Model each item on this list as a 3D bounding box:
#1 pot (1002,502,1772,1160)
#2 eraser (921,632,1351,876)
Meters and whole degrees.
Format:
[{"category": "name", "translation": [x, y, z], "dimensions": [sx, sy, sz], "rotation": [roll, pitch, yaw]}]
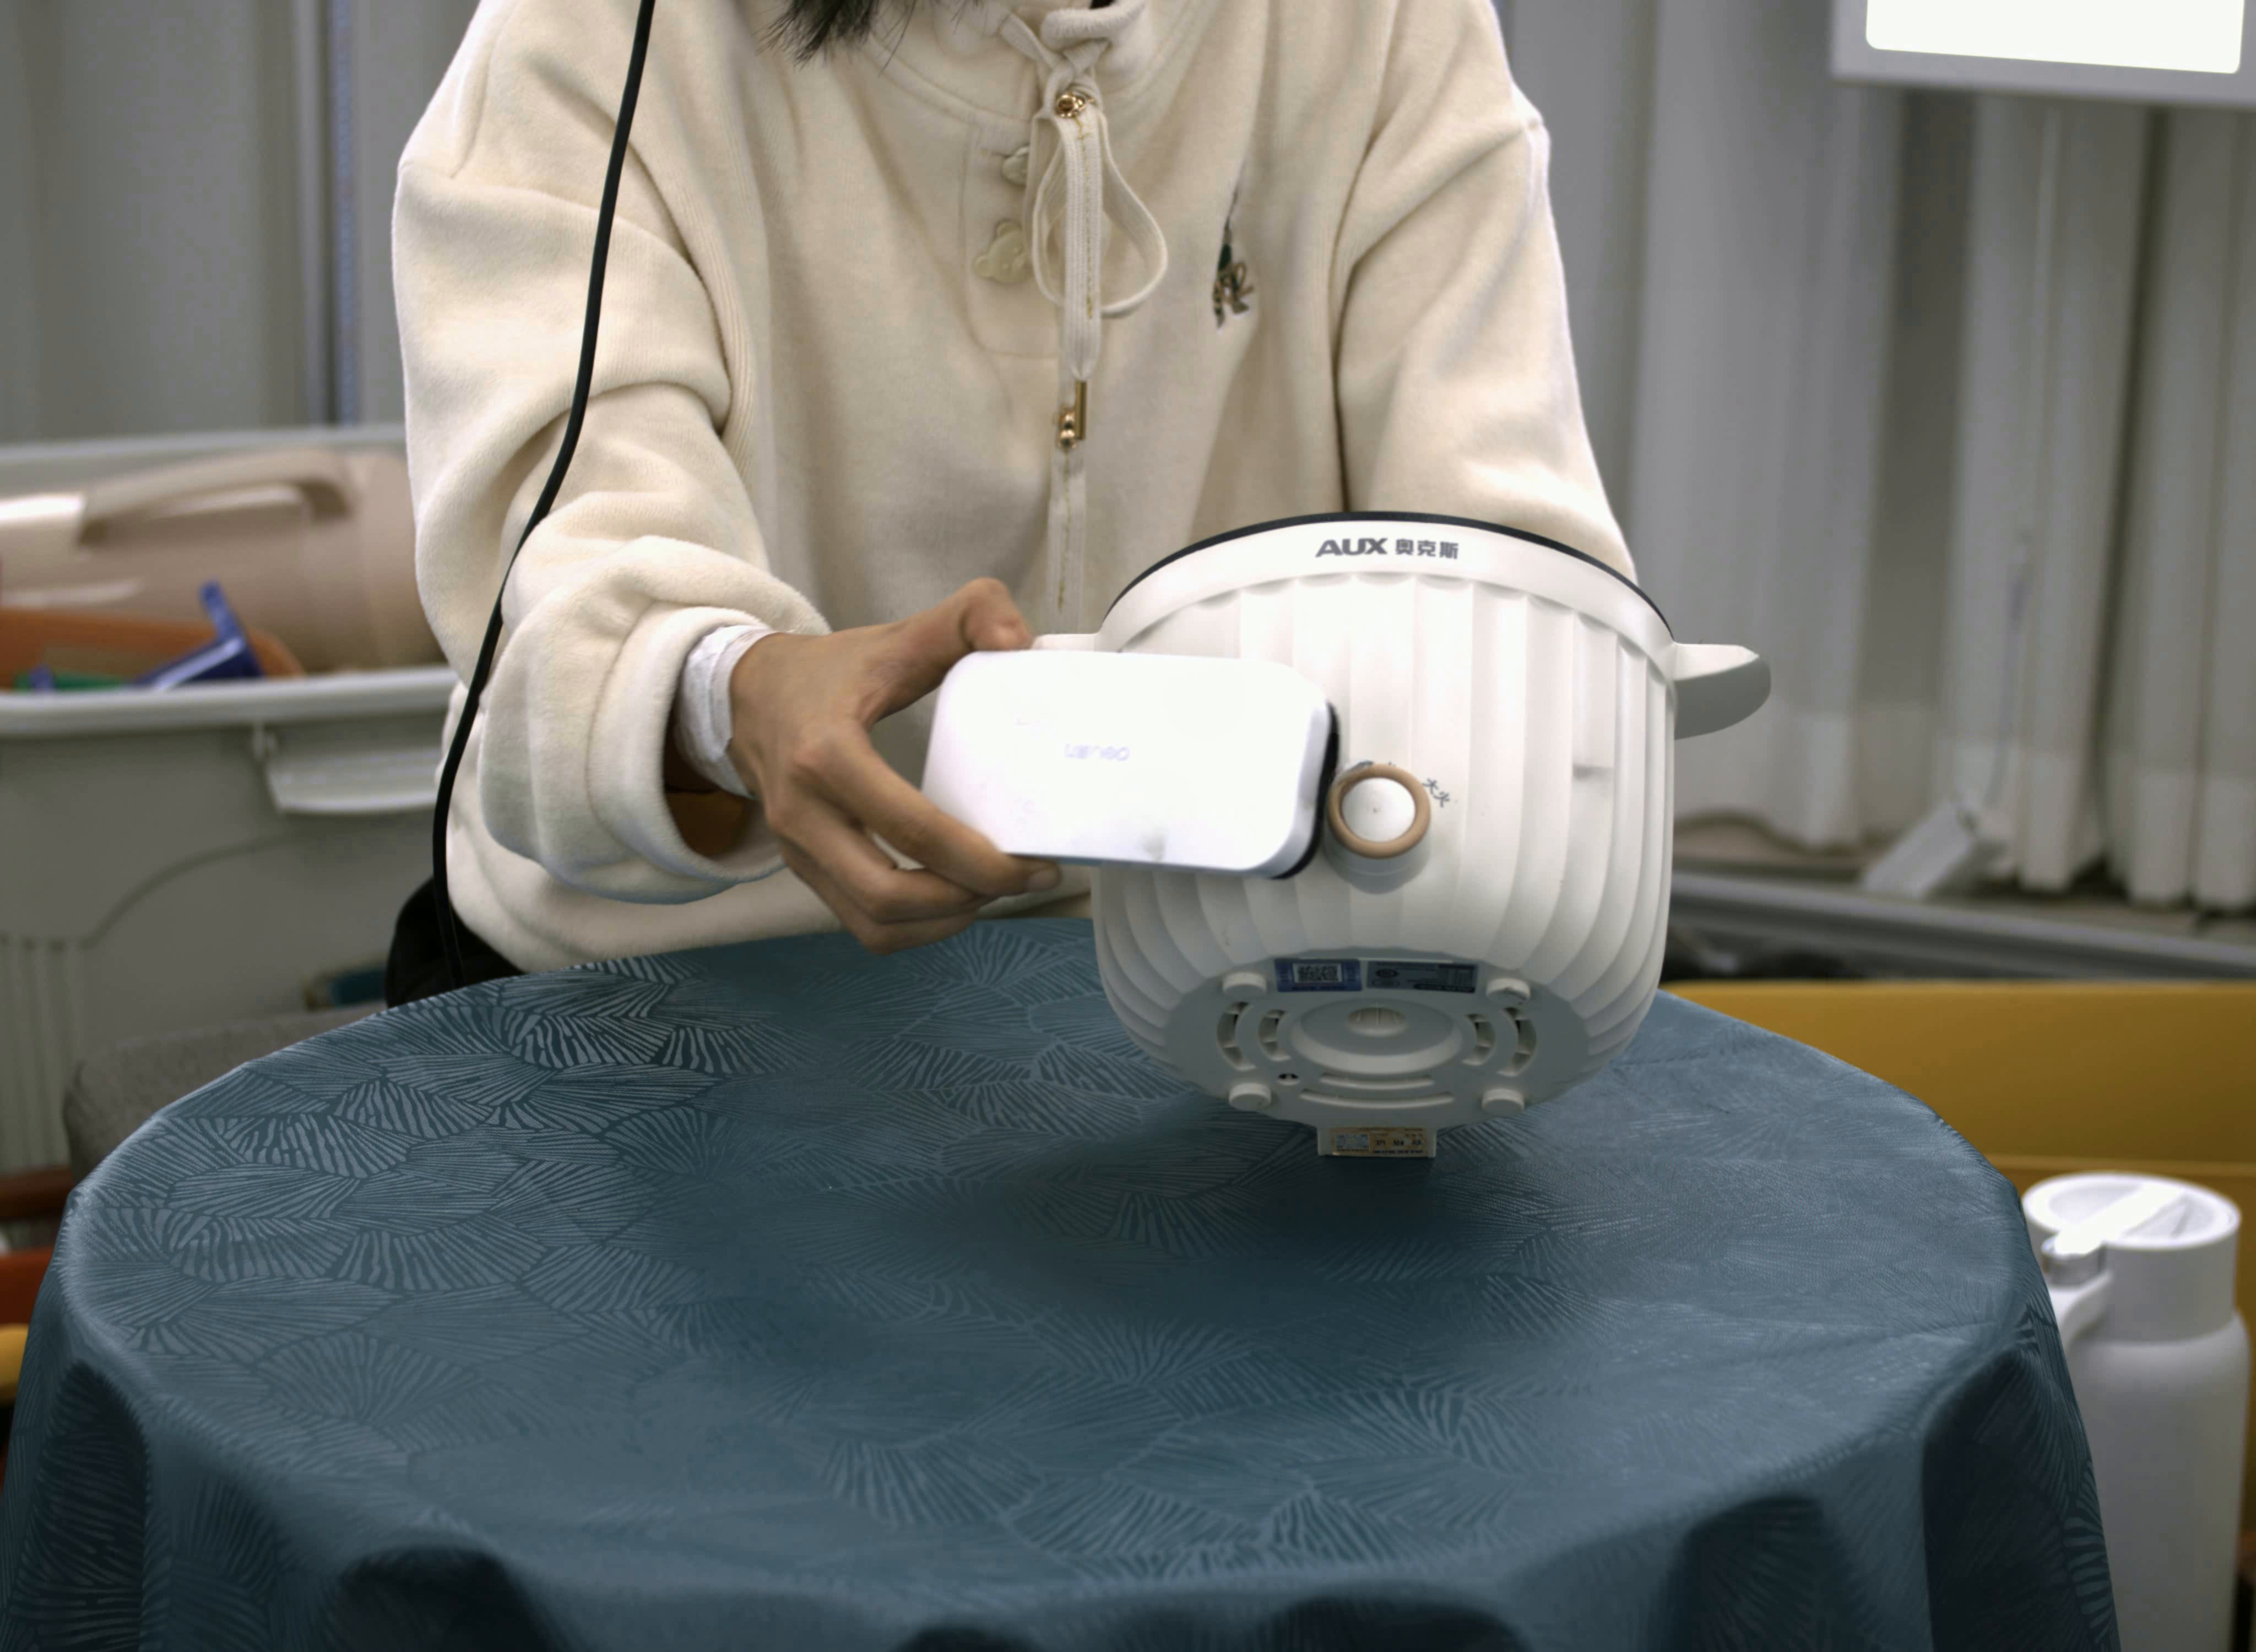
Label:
[{"category": "pot", "translation": [0.078, 0.003, 1.603], "dimensions": [0.239, 0.192, 0.141], "rotation": [1, 59, 1]}, {"category": "eraser", "translation": [0.001, -0.020, 1.507], "dimensions": [0.130, 0.063, 0.035], "rotation": [3, -14, 33]}]
